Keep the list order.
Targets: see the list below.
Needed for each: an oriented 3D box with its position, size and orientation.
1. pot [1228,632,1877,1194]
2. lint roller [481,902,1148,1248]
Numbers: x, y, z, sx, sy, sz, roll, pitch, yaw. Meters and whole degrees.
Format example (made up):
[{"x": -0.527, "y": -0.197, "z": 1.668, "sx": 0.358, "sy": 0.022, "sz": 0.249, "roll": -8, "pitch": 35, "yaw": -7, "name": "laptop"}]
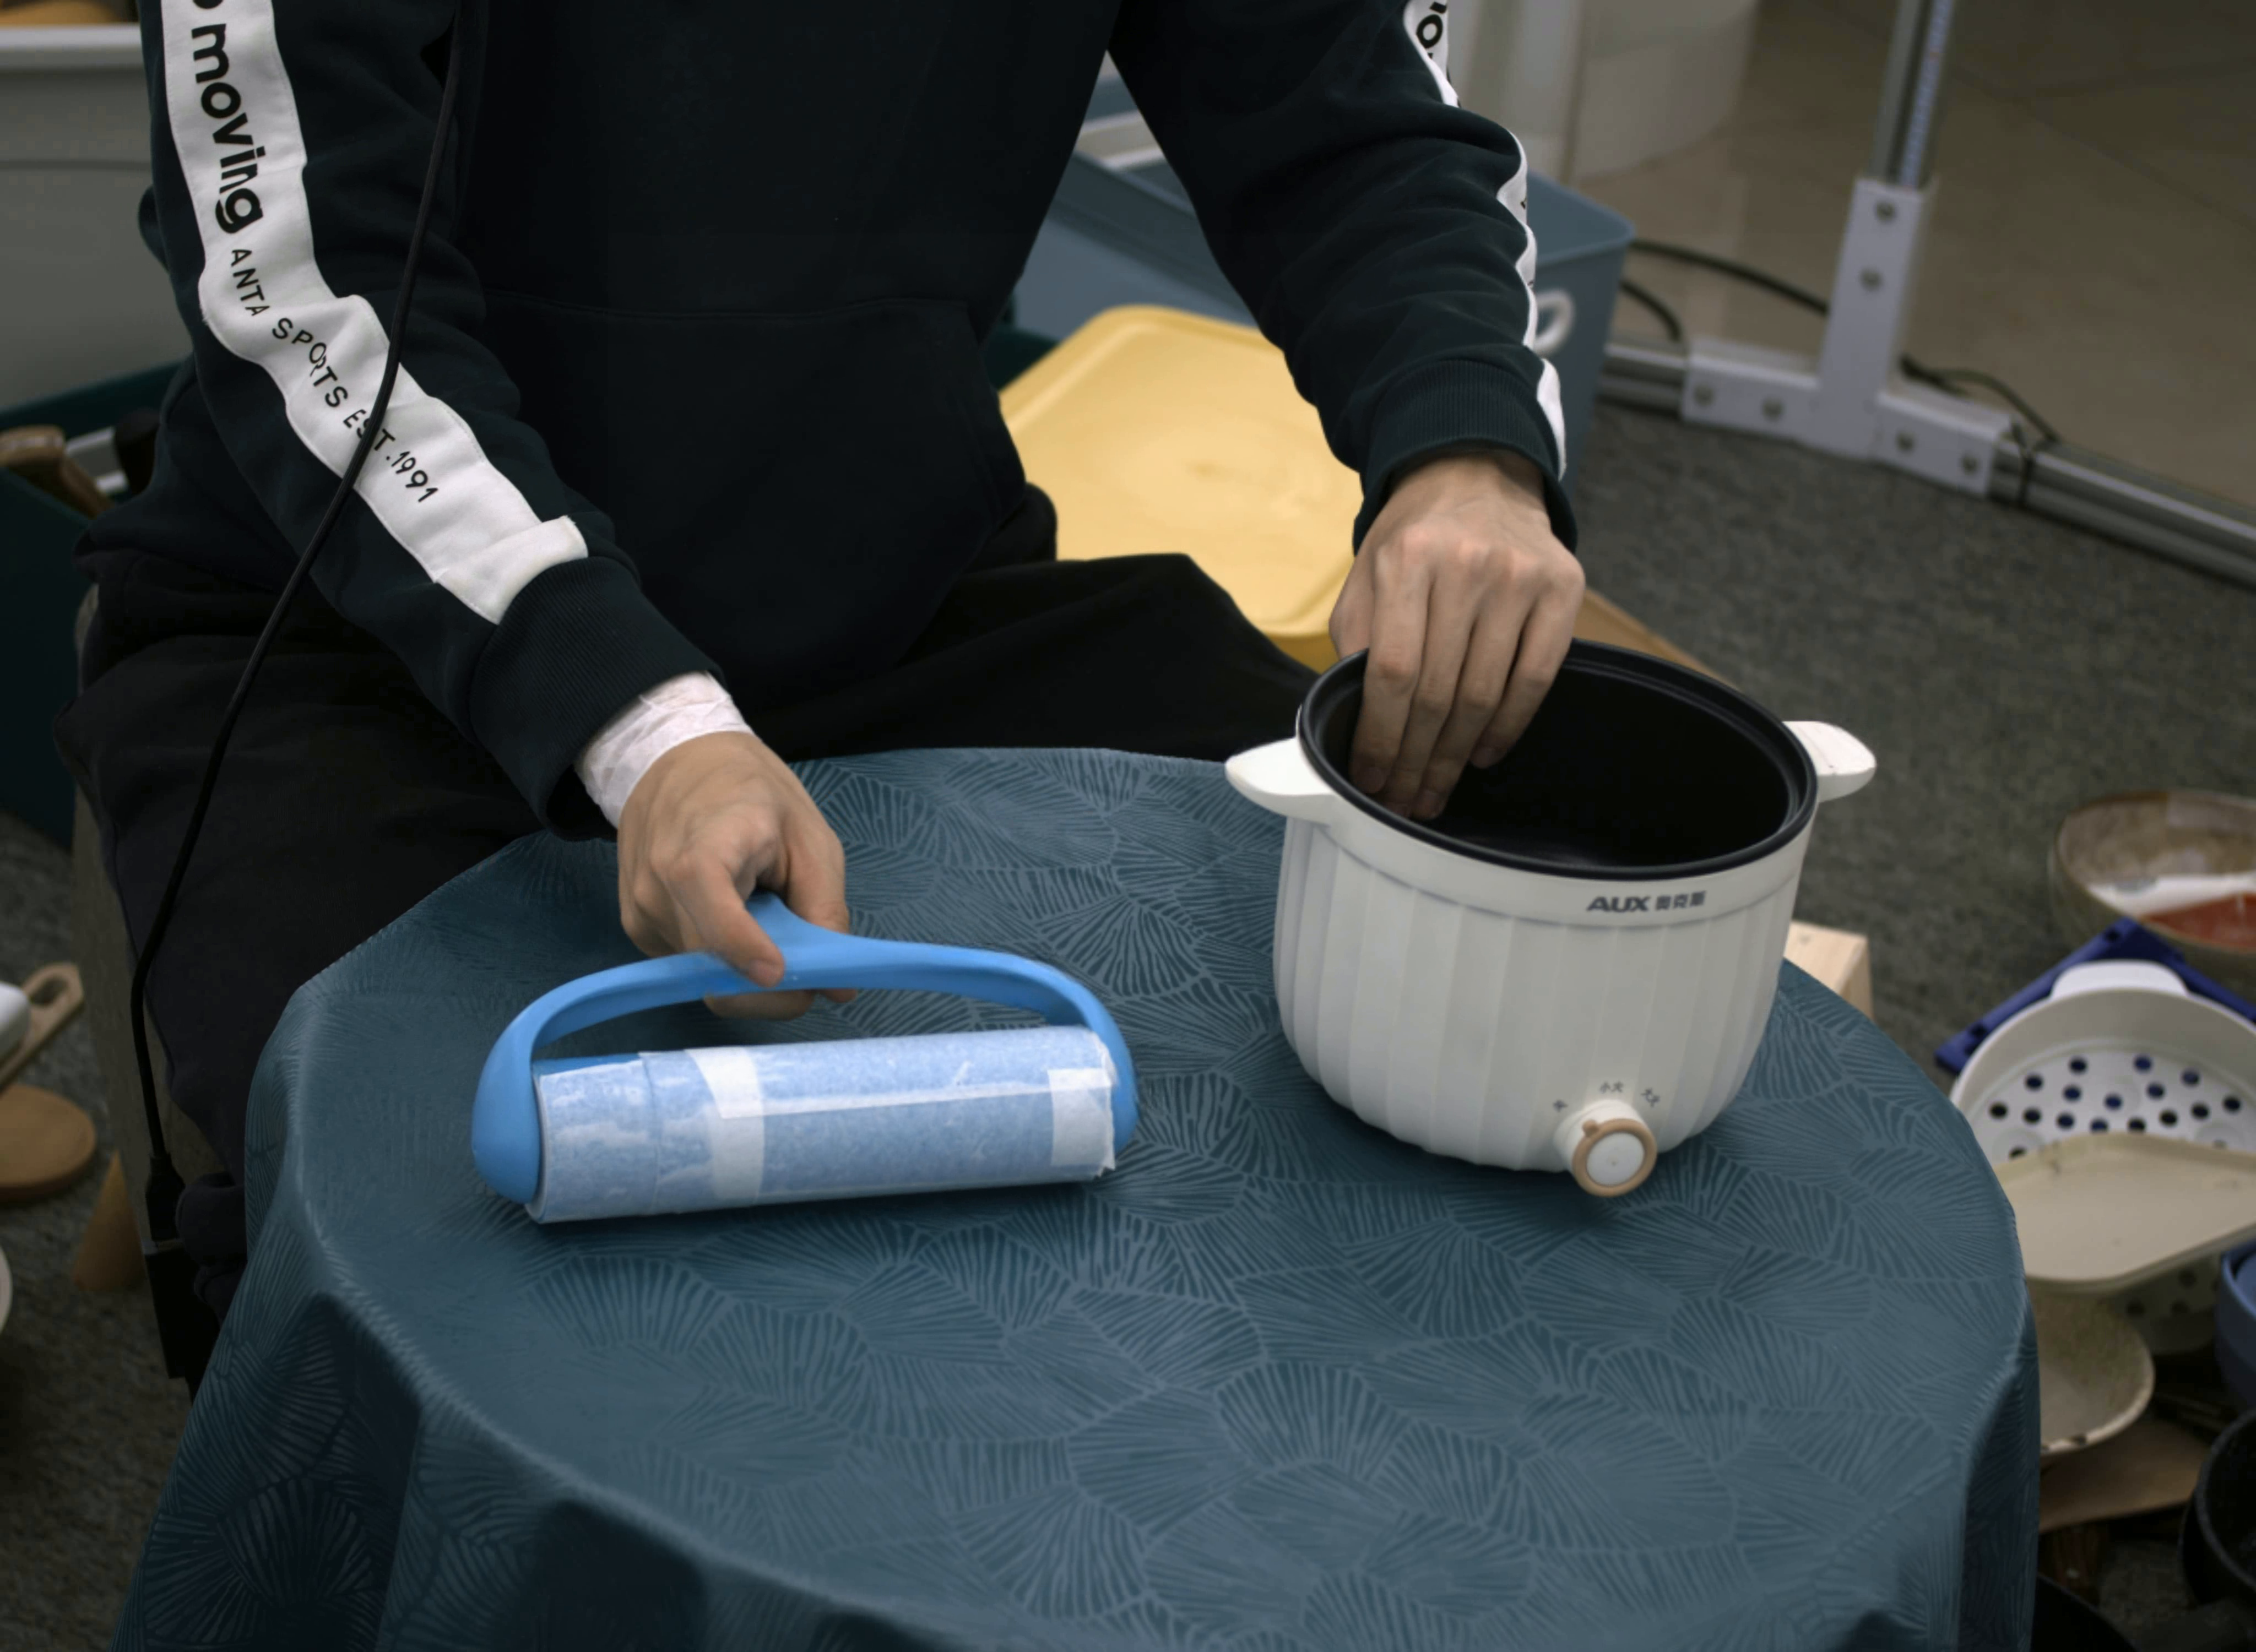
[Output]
[{"x": 0.145, "y": 0.033, "z": 1.856, "sx": 0.239, "sy": 0.142, "sz": 0.192, "roll": -4, "pitch": 25, "yaw": -17, "name": "pot"}, {"x": -0.122, "y": 0.067, "z": 1.808, "sx": 0.227, "sy": 0.067, "sz": 0.182, "roll": -8, "pitch": 39, "yaw": -19, "name": "lint roller"}]
